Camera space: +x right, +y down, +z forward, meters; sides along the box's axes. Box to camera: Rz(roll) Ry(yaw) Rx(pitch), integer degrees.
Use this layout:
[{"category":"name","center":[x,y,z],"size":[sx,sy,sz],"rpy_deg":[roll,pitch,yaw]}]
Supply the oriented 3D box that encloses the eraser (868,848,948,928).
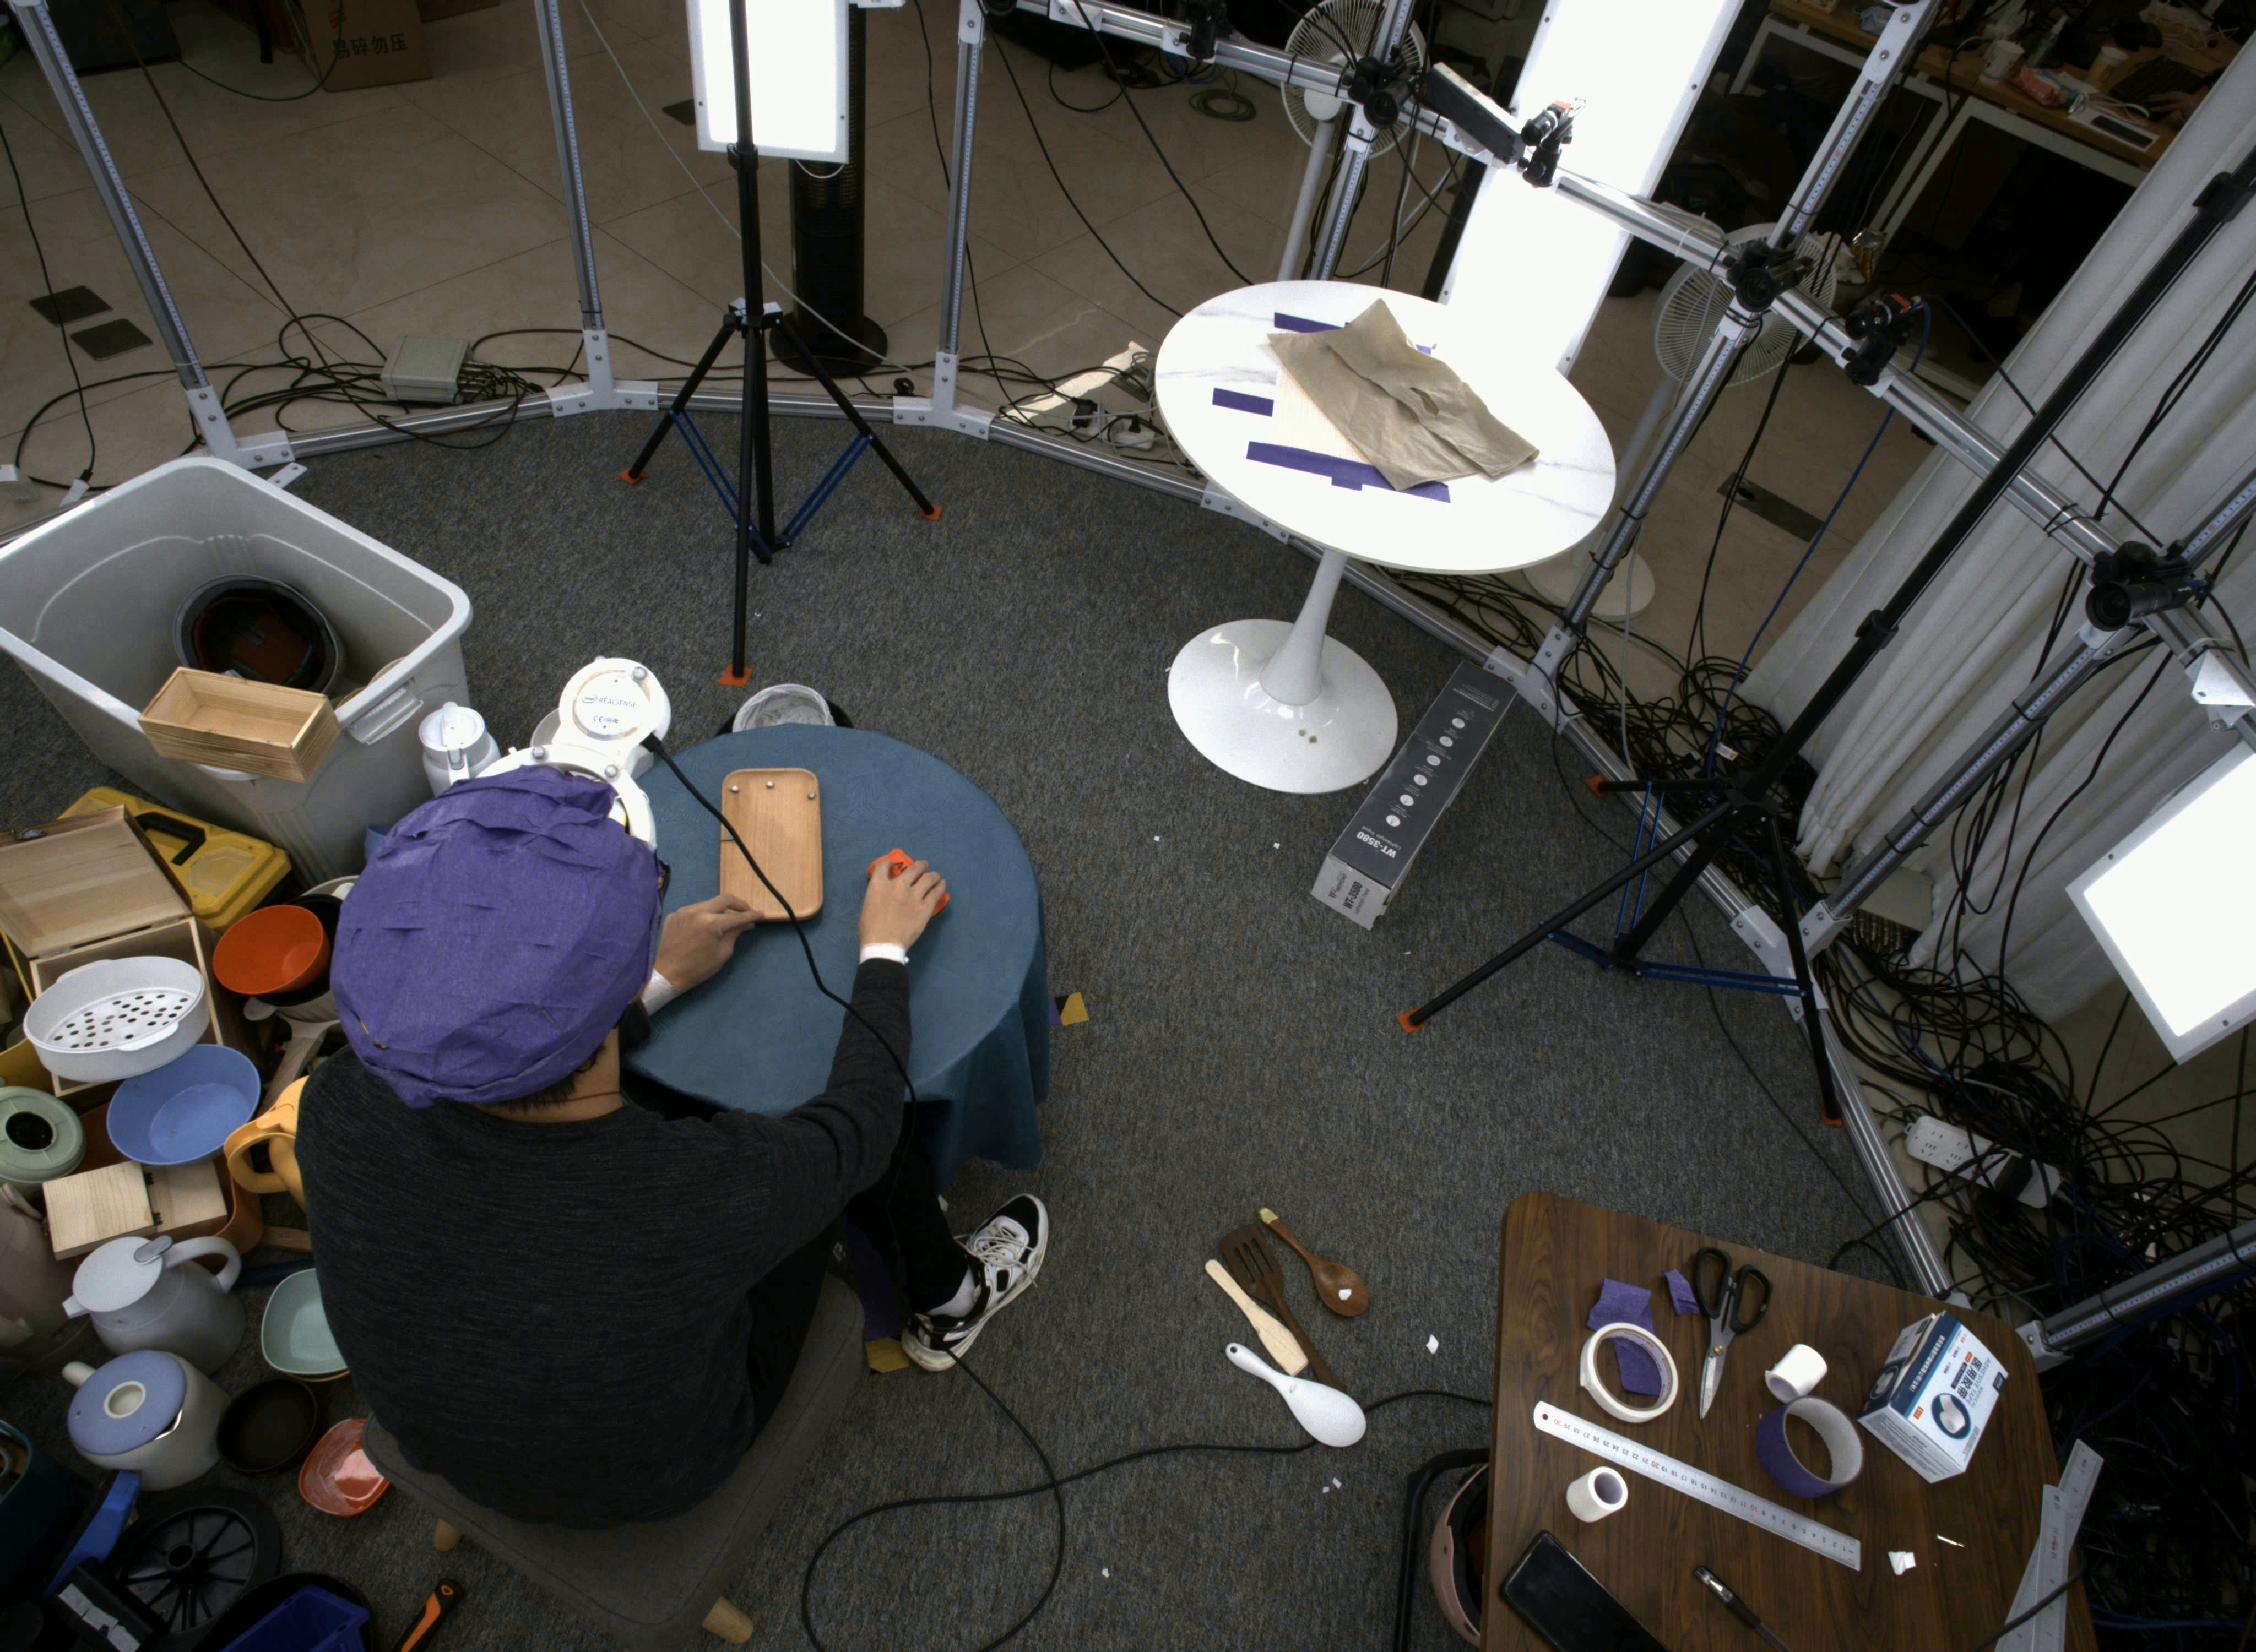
[{"category":"eraser","center":[-0.285,0.078,1.682],"size":[0.105,0.023,0.059],"rpy_deg":[42,57,17]}]

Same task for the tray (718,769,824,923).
[{"category":"tray","center":[-0.461,0.021,1.674],"size":[0.130,0.023,0.245],"rpy_deg":[-1,52,-14]}]
